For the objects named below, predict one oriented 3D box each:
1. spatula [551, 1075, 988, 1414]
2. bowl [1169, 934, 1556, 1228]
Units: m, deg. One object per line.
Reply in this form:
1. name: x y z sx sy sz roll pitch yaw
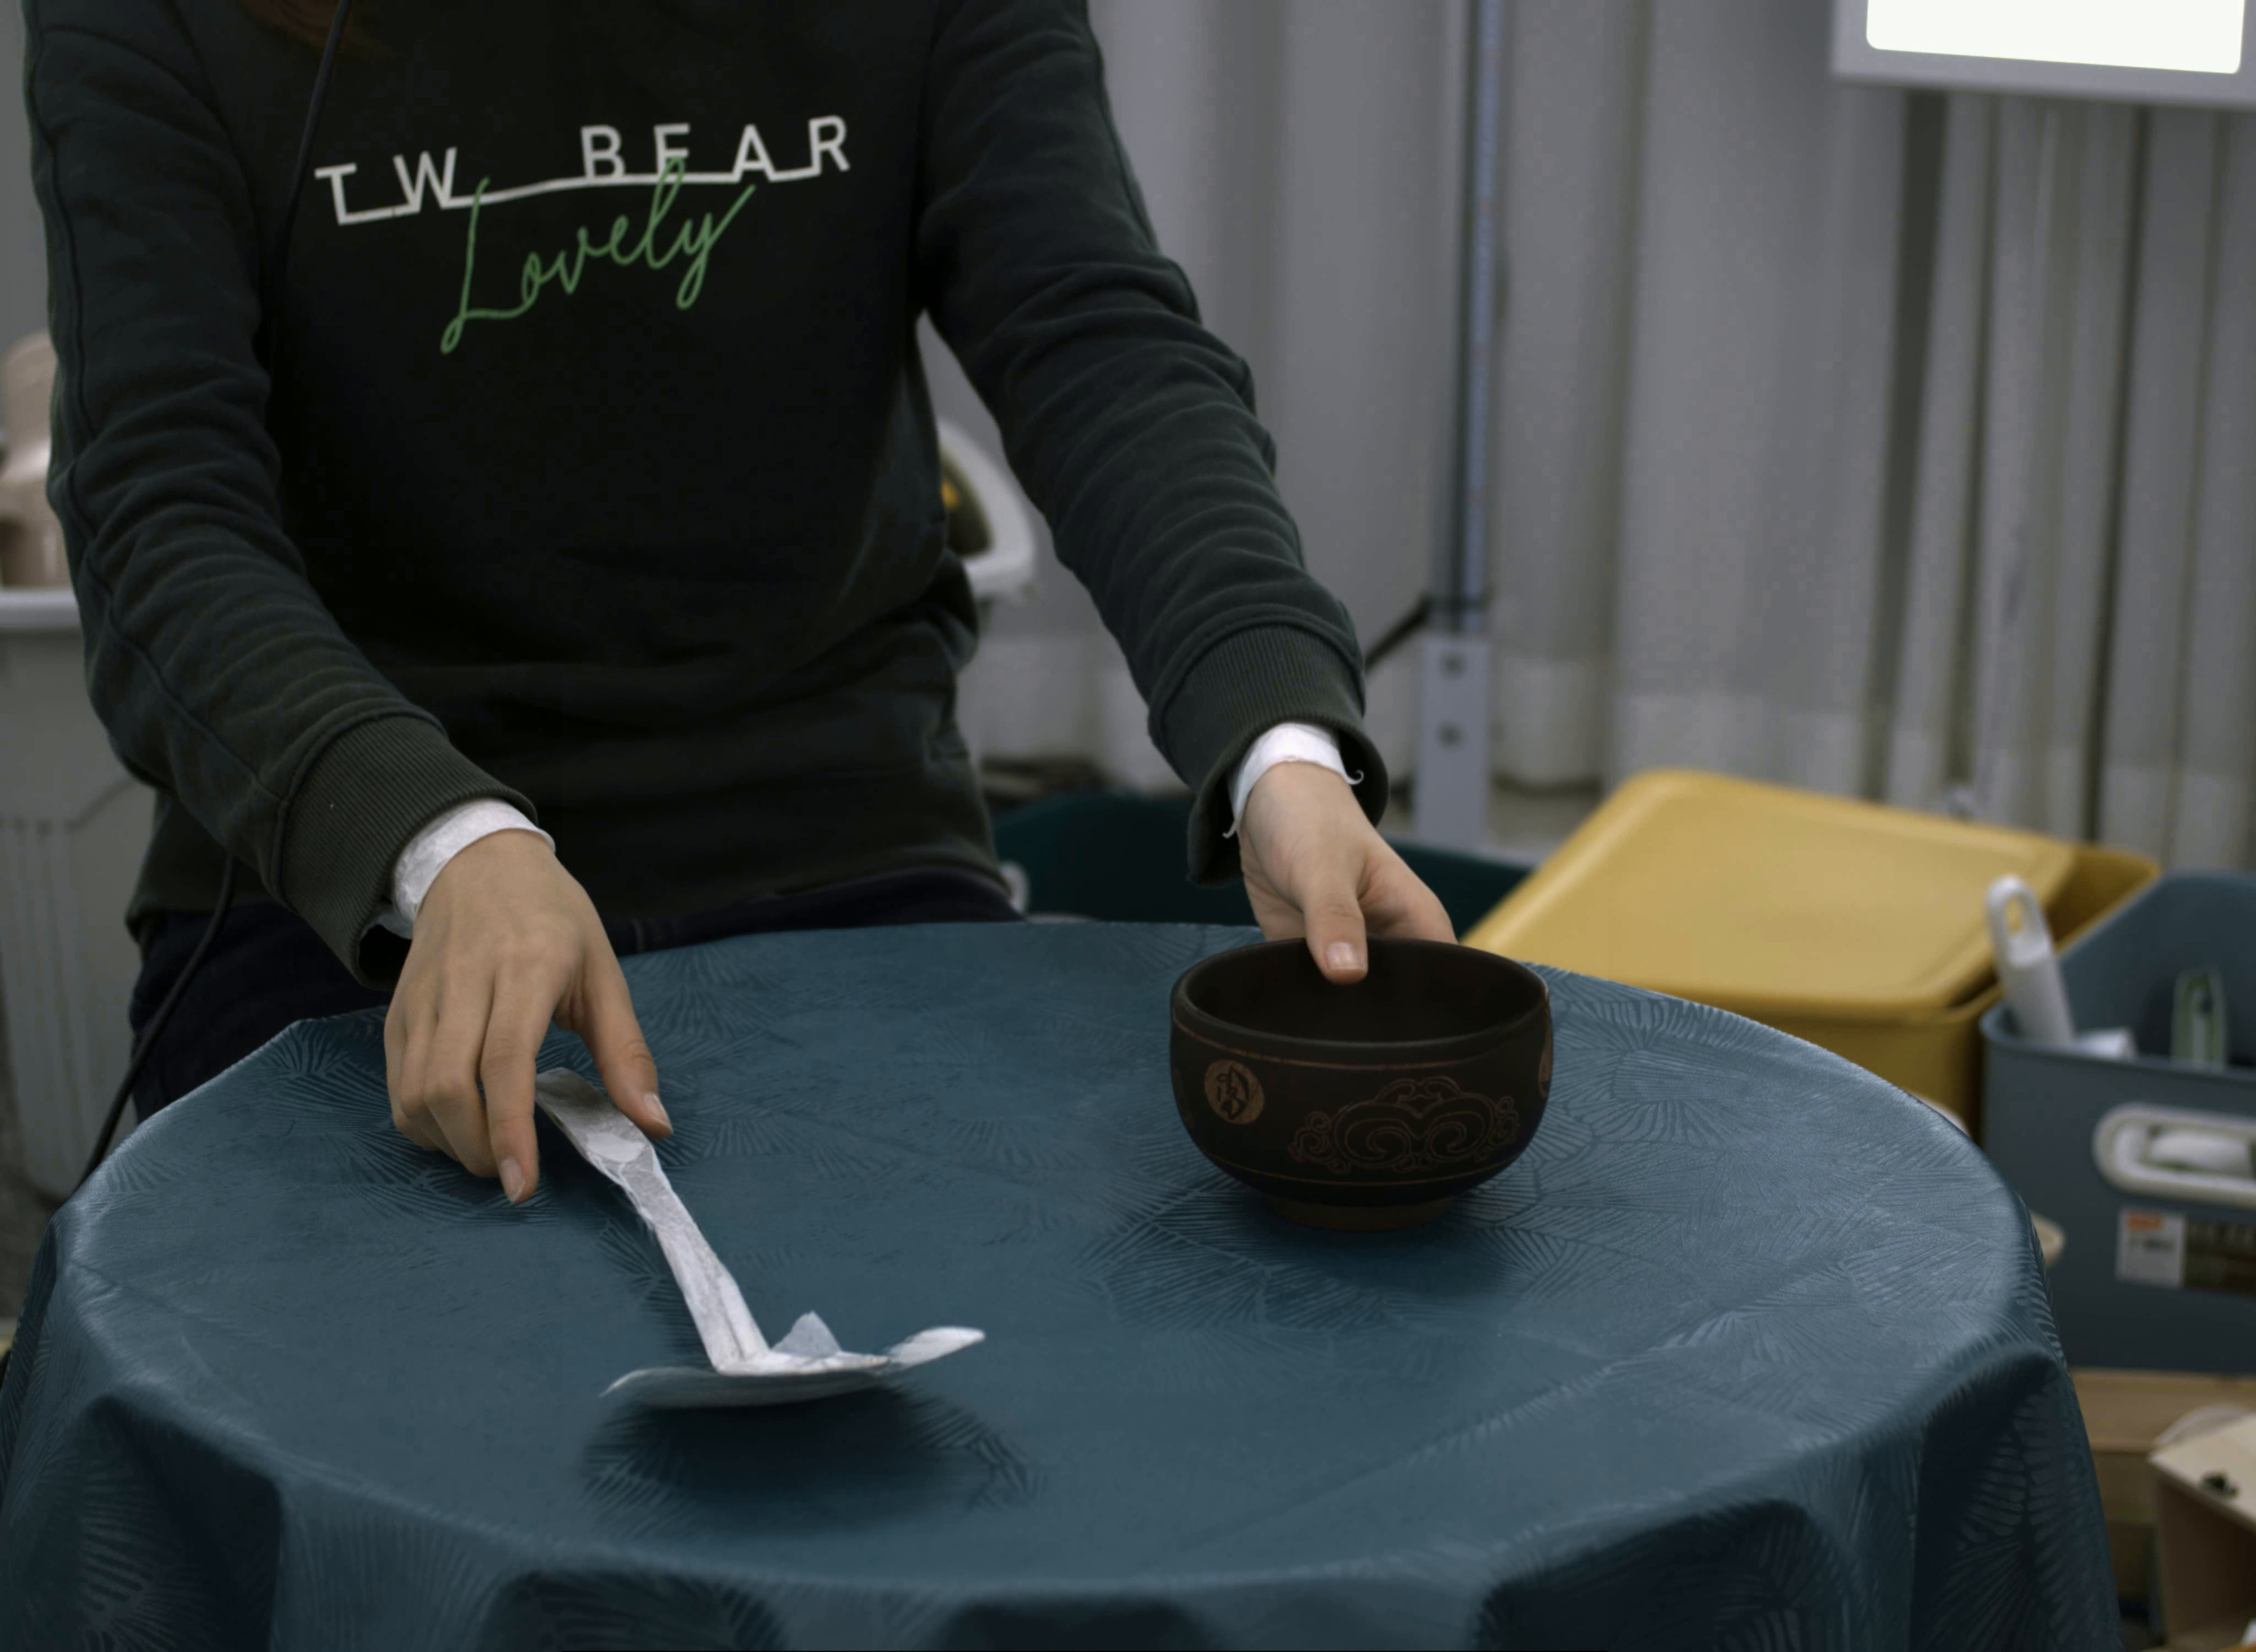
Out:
1. spatula: -0.130 0.113 1.547 0.099 0.045 0.361 -6 17 -16
2. bowl: 0.071 0.081 1.609 0.117 0.070 0.117 2 15 0
